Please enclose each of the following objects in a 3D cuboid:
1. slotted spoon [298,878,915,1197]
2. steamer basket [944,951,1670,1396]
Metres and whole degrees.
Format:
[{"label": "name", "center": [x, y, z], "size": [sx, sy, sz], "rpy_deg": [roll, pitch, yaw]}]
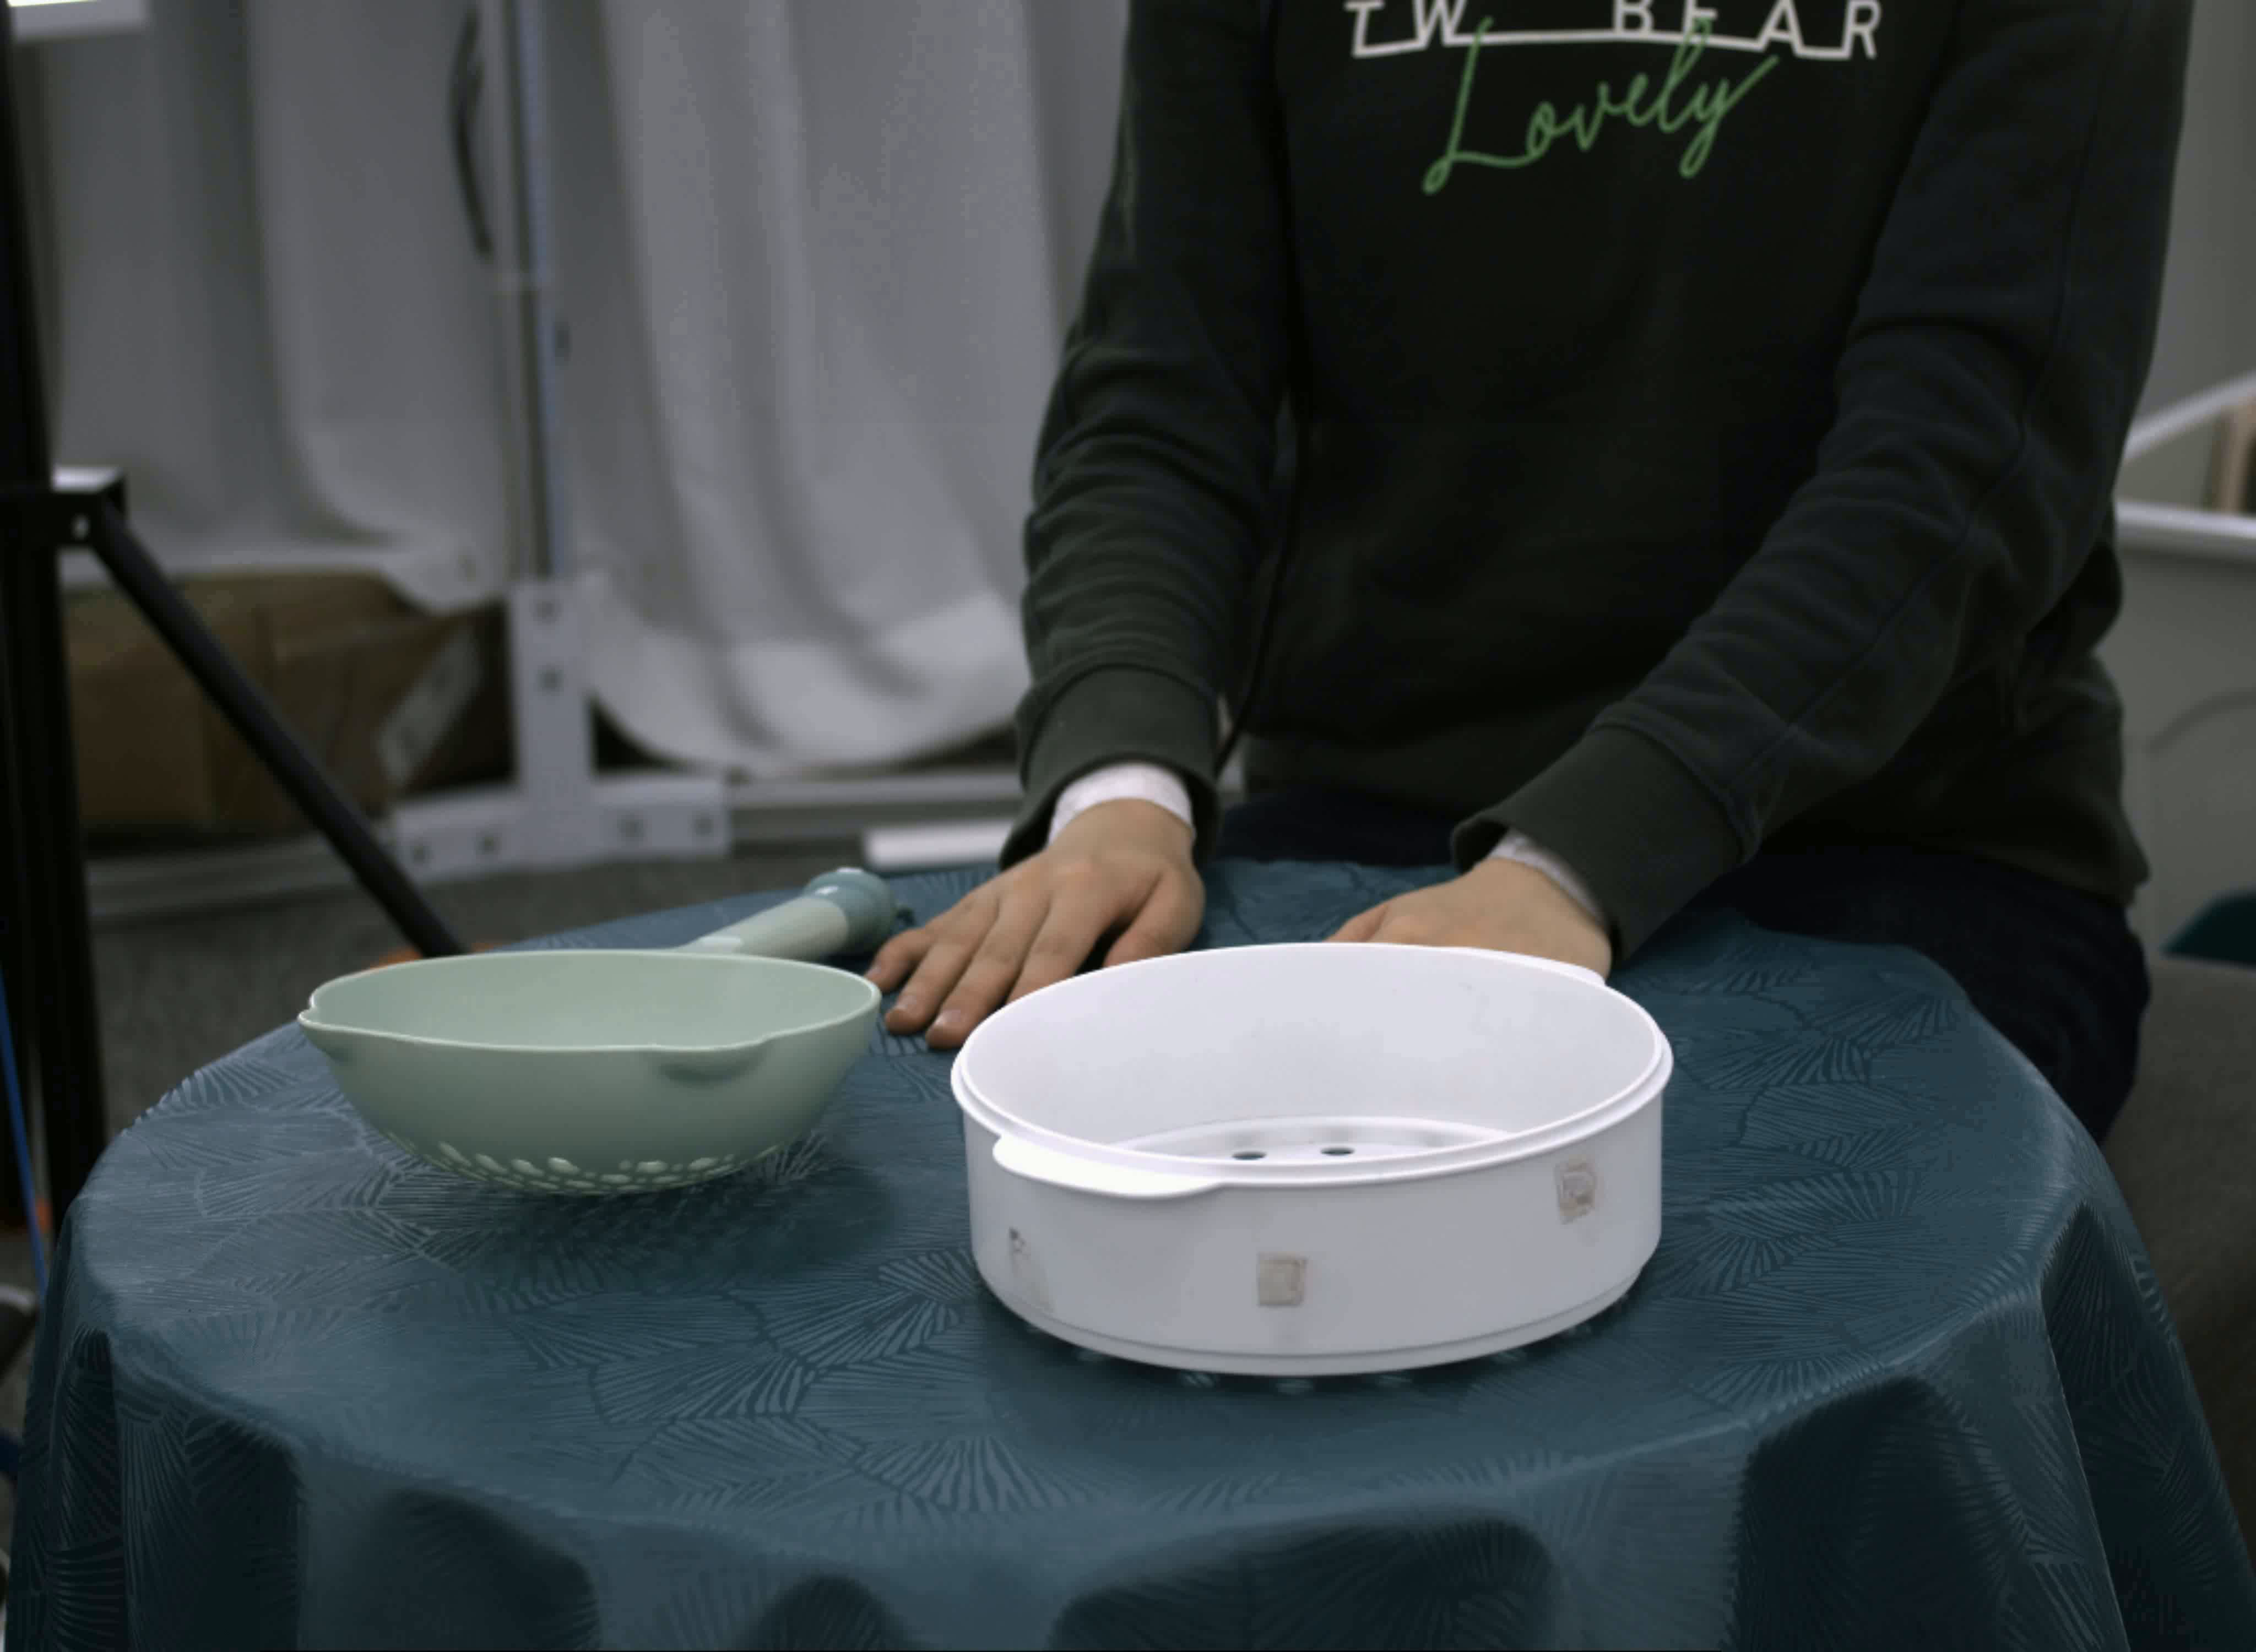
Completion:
[{"label": "slotted spoon", "center": [-0.130, 0.050, 1.669], "size": [0.171, 0.075, 0.355], "rpy_deg": [3, 16, 16]}, {"label": "steamer basket", "center": [0.050, 0.096, 1.474], "size": [0.206, 0.069, 0.226], "rpy_deg": [10, 20, 35]}]
